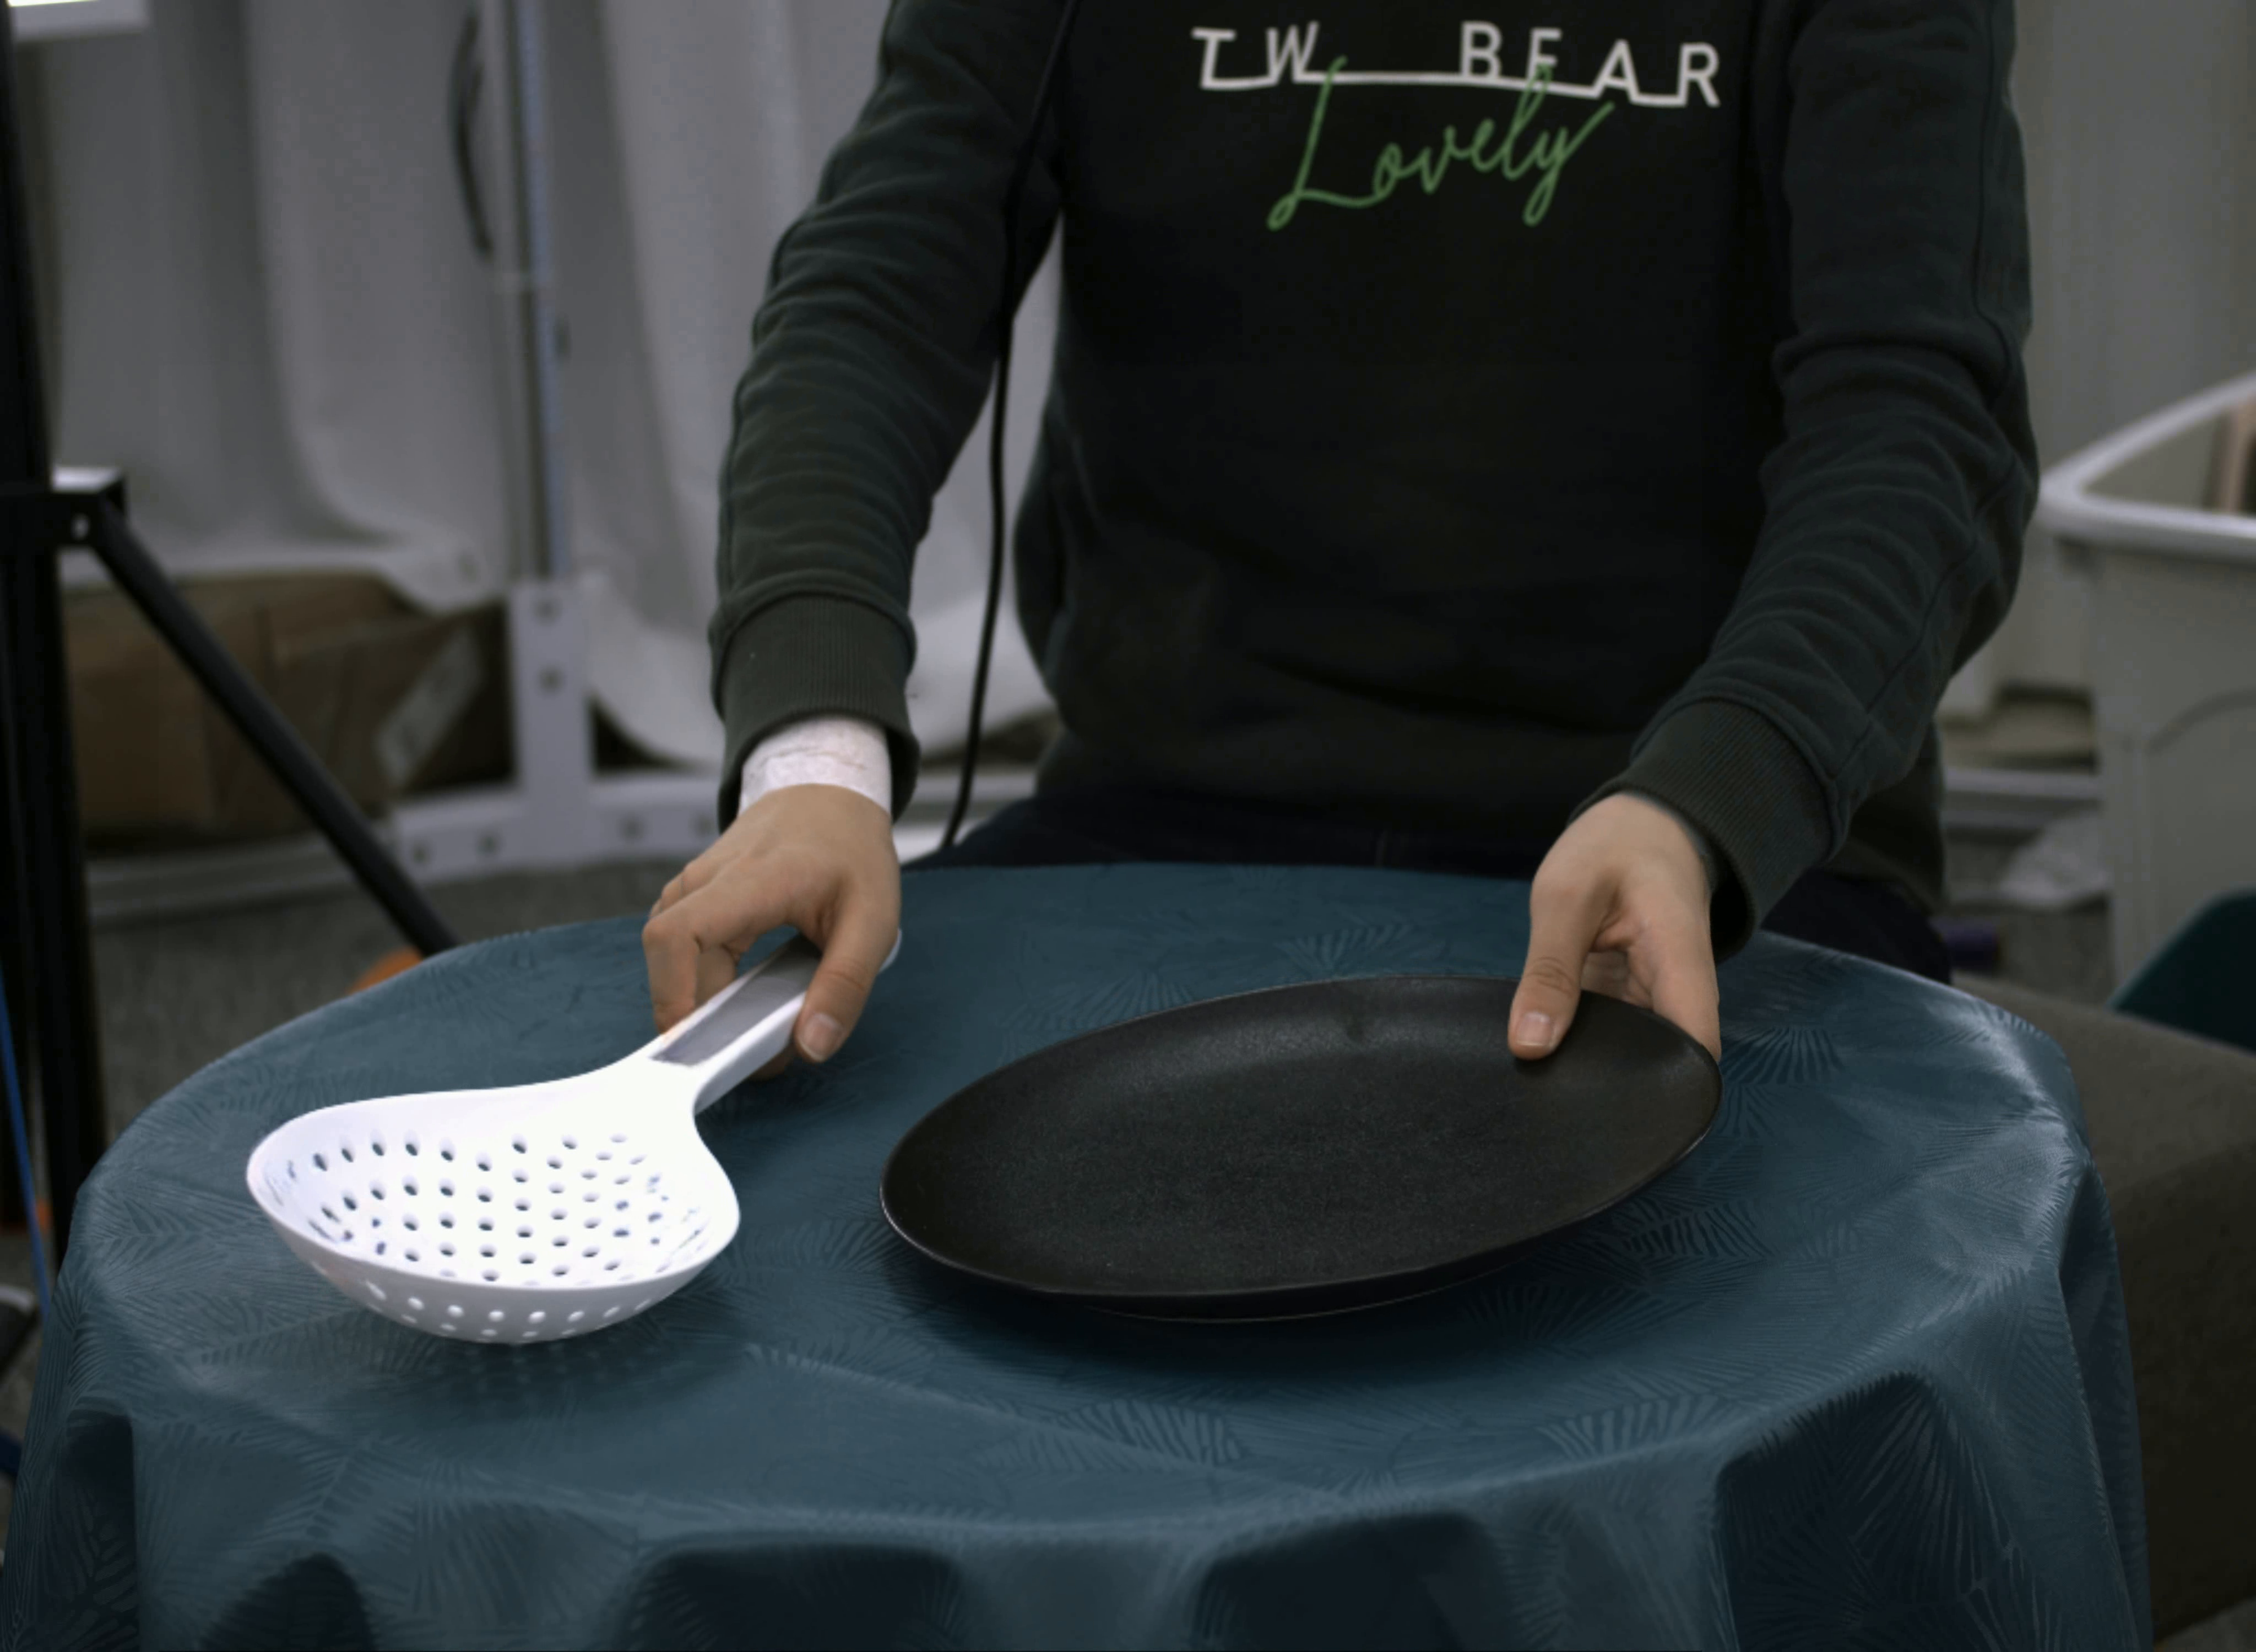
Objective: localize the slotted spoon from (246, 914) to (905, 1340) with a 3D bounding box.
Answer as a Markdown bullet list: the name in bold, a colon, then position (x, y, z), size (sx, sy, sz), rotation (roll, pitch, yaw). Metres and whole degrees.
- **slotted spoon**: position (-0.141, 0.079, 1.569), size (0.137, 0.046, 0.346), rotation (14, 23, 16)

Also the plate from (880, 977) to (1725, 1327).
- **plate**: position (0.051, 0.096, 1.517), size (0.243, 0.023, 0.246), rotation (-9, 18, 1)
